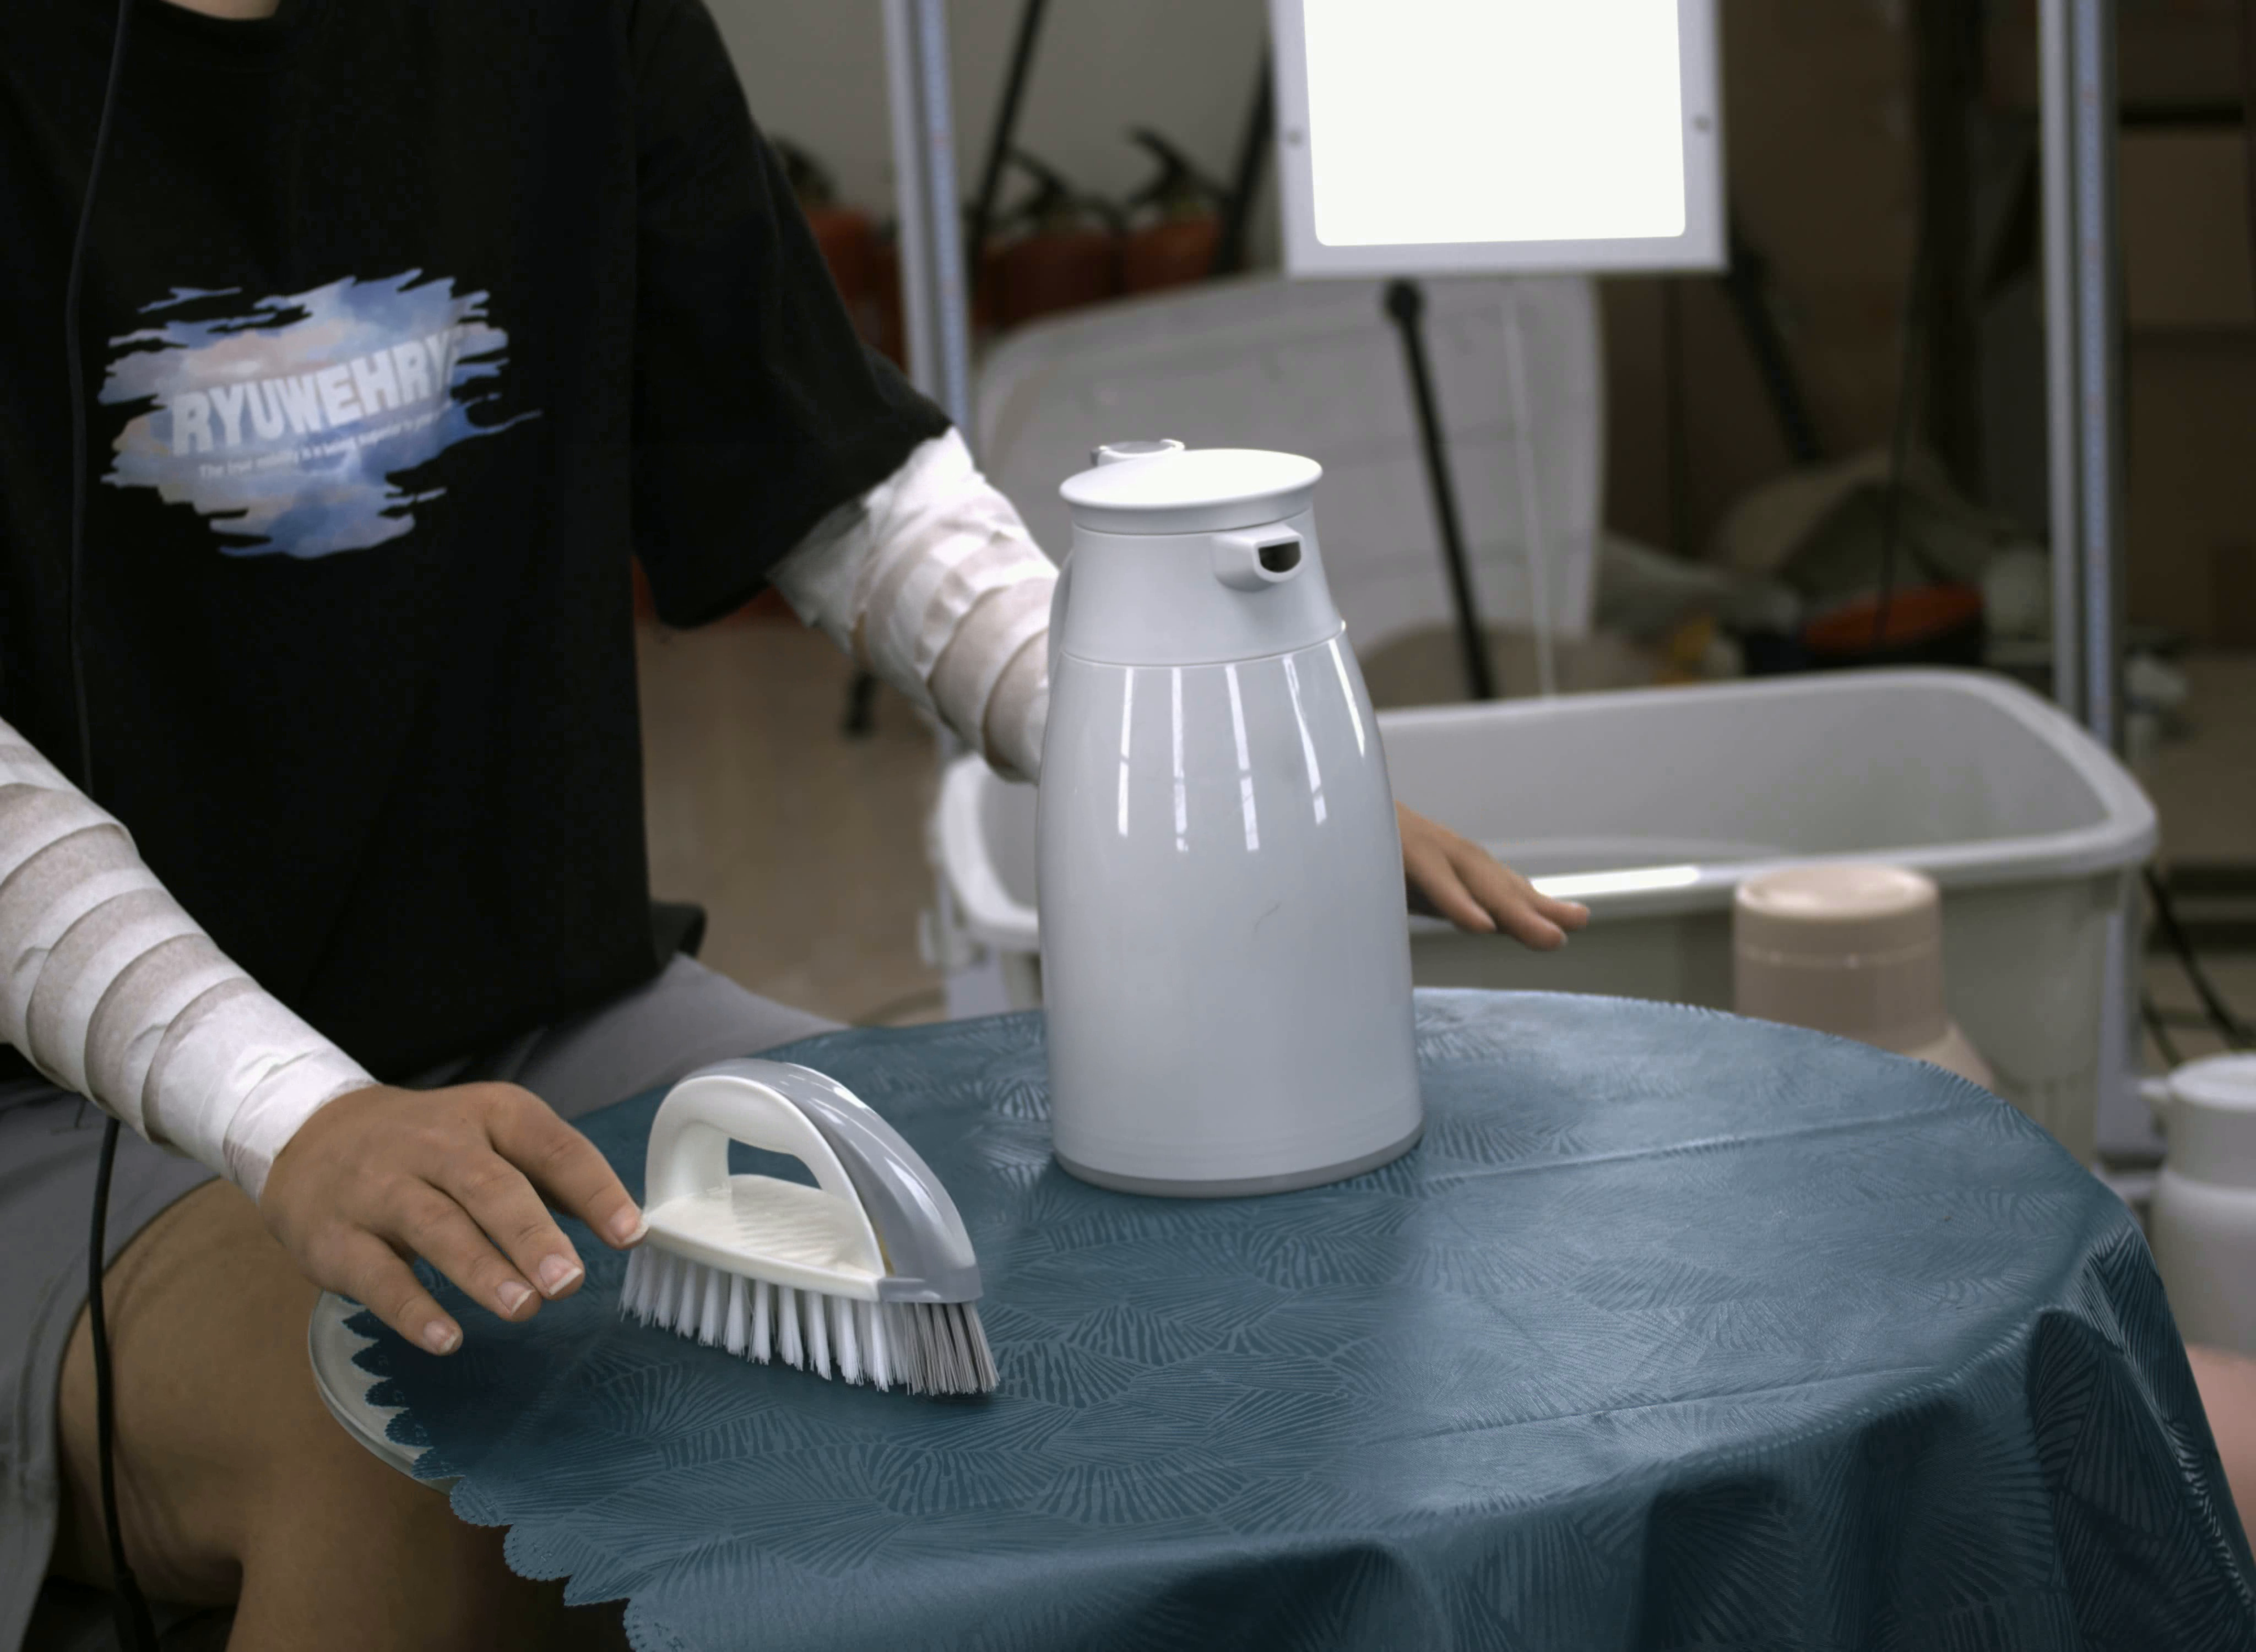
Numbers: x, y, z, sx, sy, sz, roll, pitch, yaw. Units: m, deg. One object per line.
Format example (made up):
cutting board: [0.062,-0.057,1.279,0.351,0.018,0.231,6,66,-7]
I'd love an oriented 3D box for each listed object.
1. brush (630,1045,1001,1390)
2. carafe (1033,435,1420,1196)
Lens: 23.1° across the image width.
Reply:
brush: [-0.098,0.121,1.760,0.060,0.094,0.179,-17,19,-33]
carafe: [0.019,-0.012,1.932,0.130,0.249,0.170,-12,15,-26]
